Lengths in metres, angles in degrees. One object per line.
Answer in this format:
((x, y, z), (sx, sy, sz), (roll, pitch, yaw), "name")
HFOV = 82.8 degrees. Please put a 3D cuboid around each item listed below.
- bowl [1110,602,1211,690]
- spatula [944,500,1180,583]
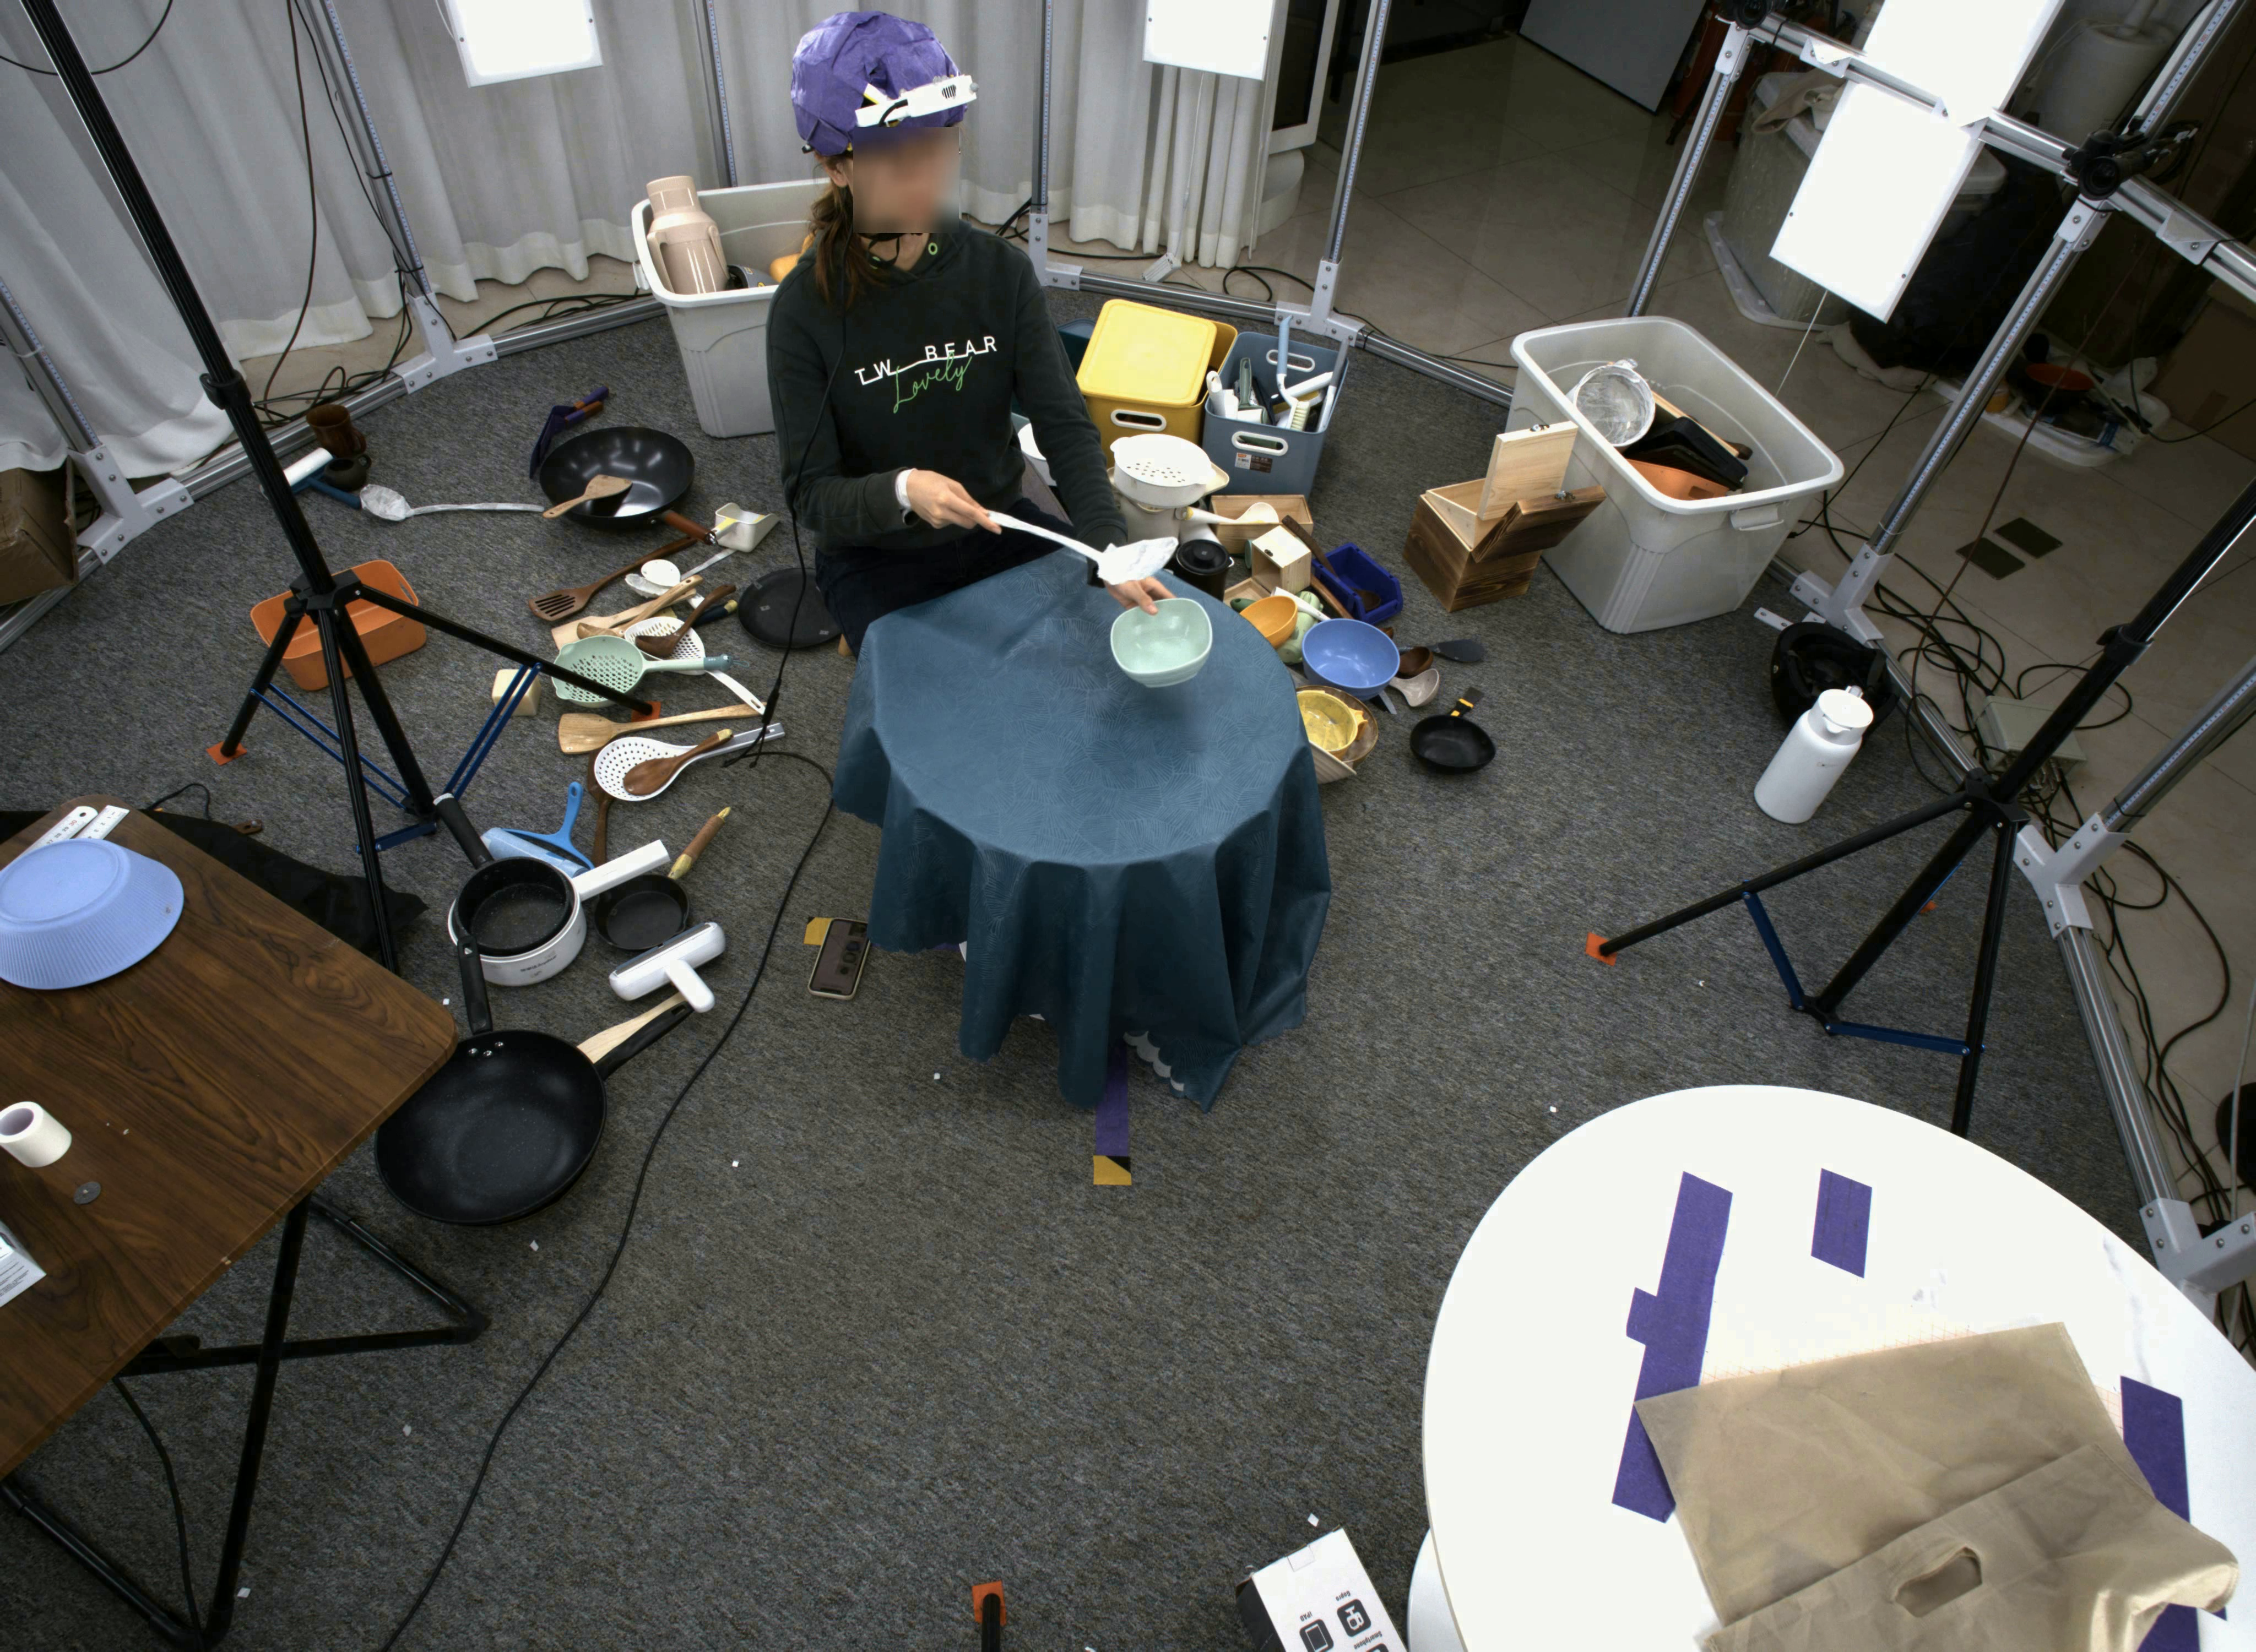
((0.048, -0.241, 1.785), (0.151, 0.057, 0.155), (-5, 51, 7), "bowl")
((-0.103, -0.395, 1.736), (0.368, 0.043, 0.100), (22, 55, 19), "spatula")
